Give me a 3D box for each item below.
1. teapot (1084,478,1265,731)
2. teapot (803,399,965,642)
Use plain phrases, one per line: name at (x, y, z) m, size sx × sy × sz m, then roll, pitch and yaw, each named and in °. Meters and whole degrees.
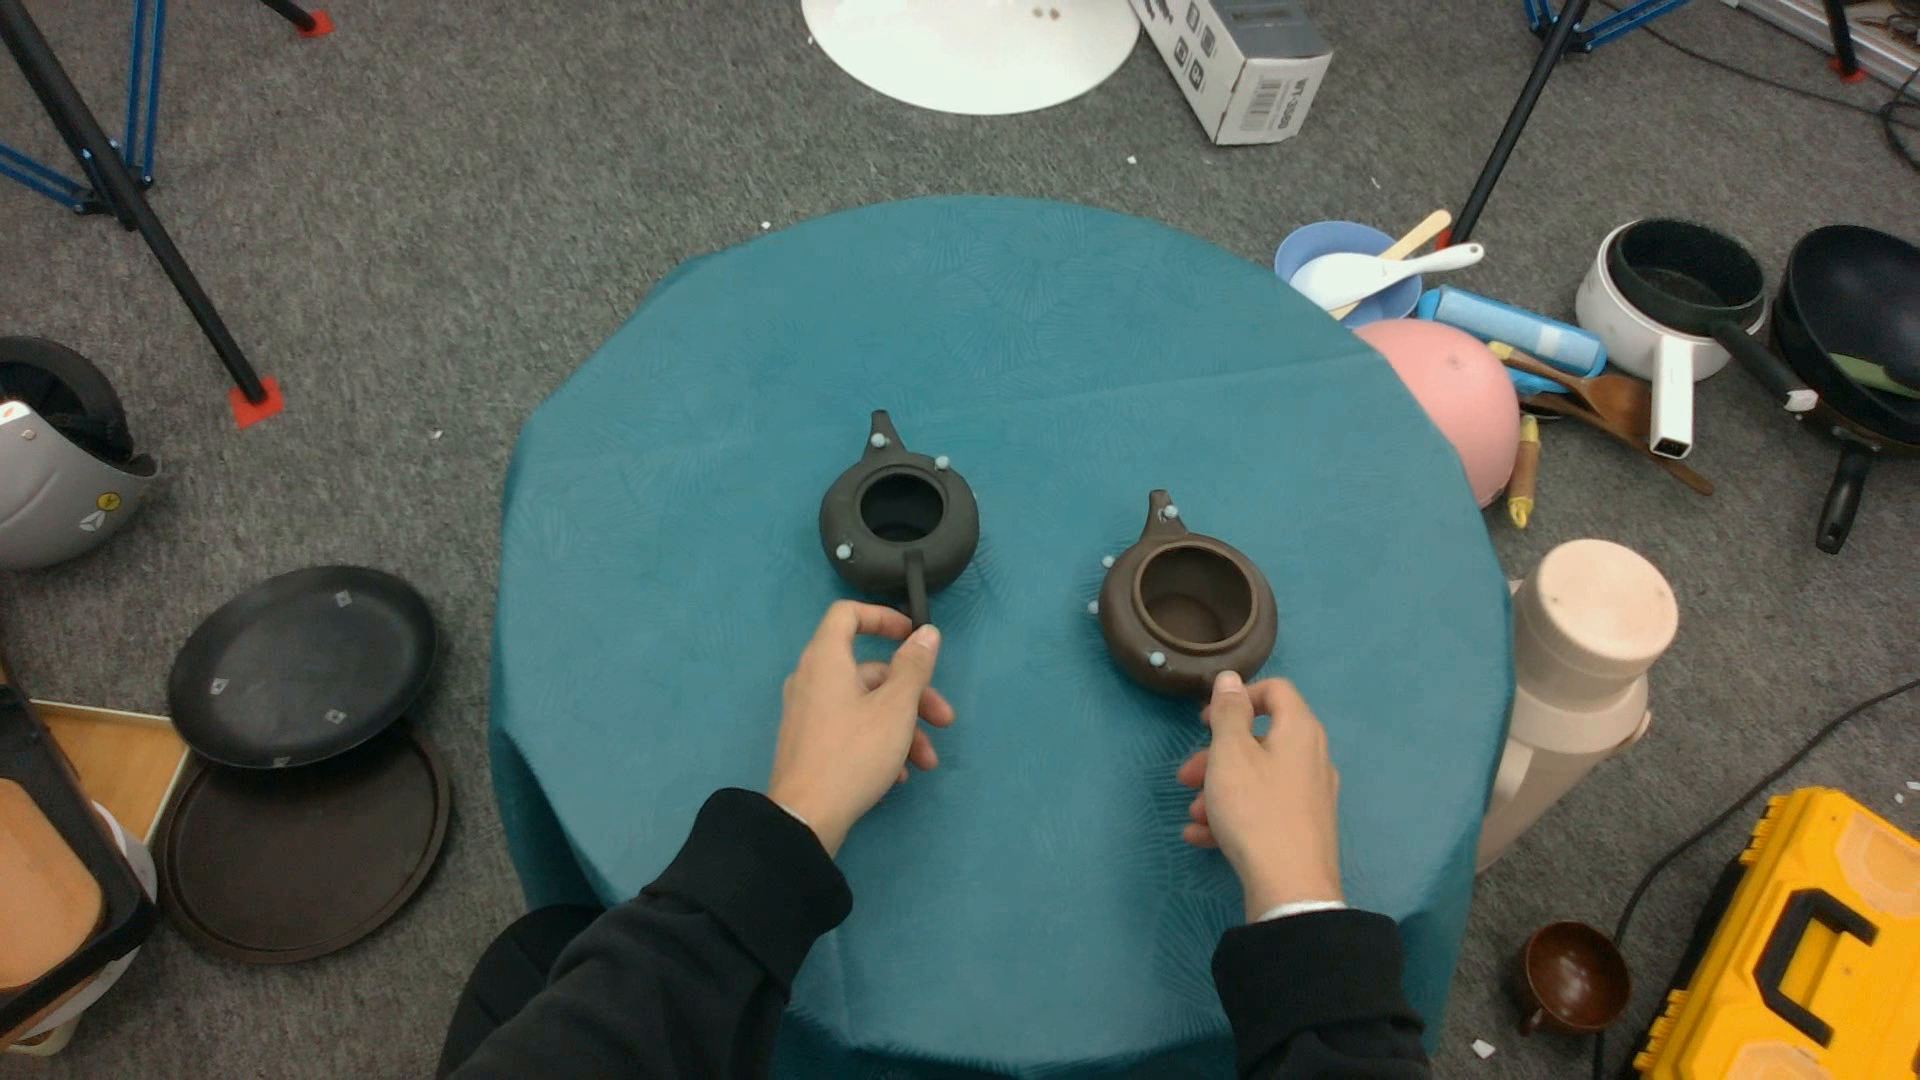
teapot at (0.123, 0.038, 0.778) m, size 0.103 × 0.053 × 0.154 m, roll -15°, pitch 59°, yaw -12°
teapot at (-0.043, -0.010, 0.788) m, size 0.092 × 0.064 × 0.155 m, roll -7°, pitch 58°, yaw -8°
